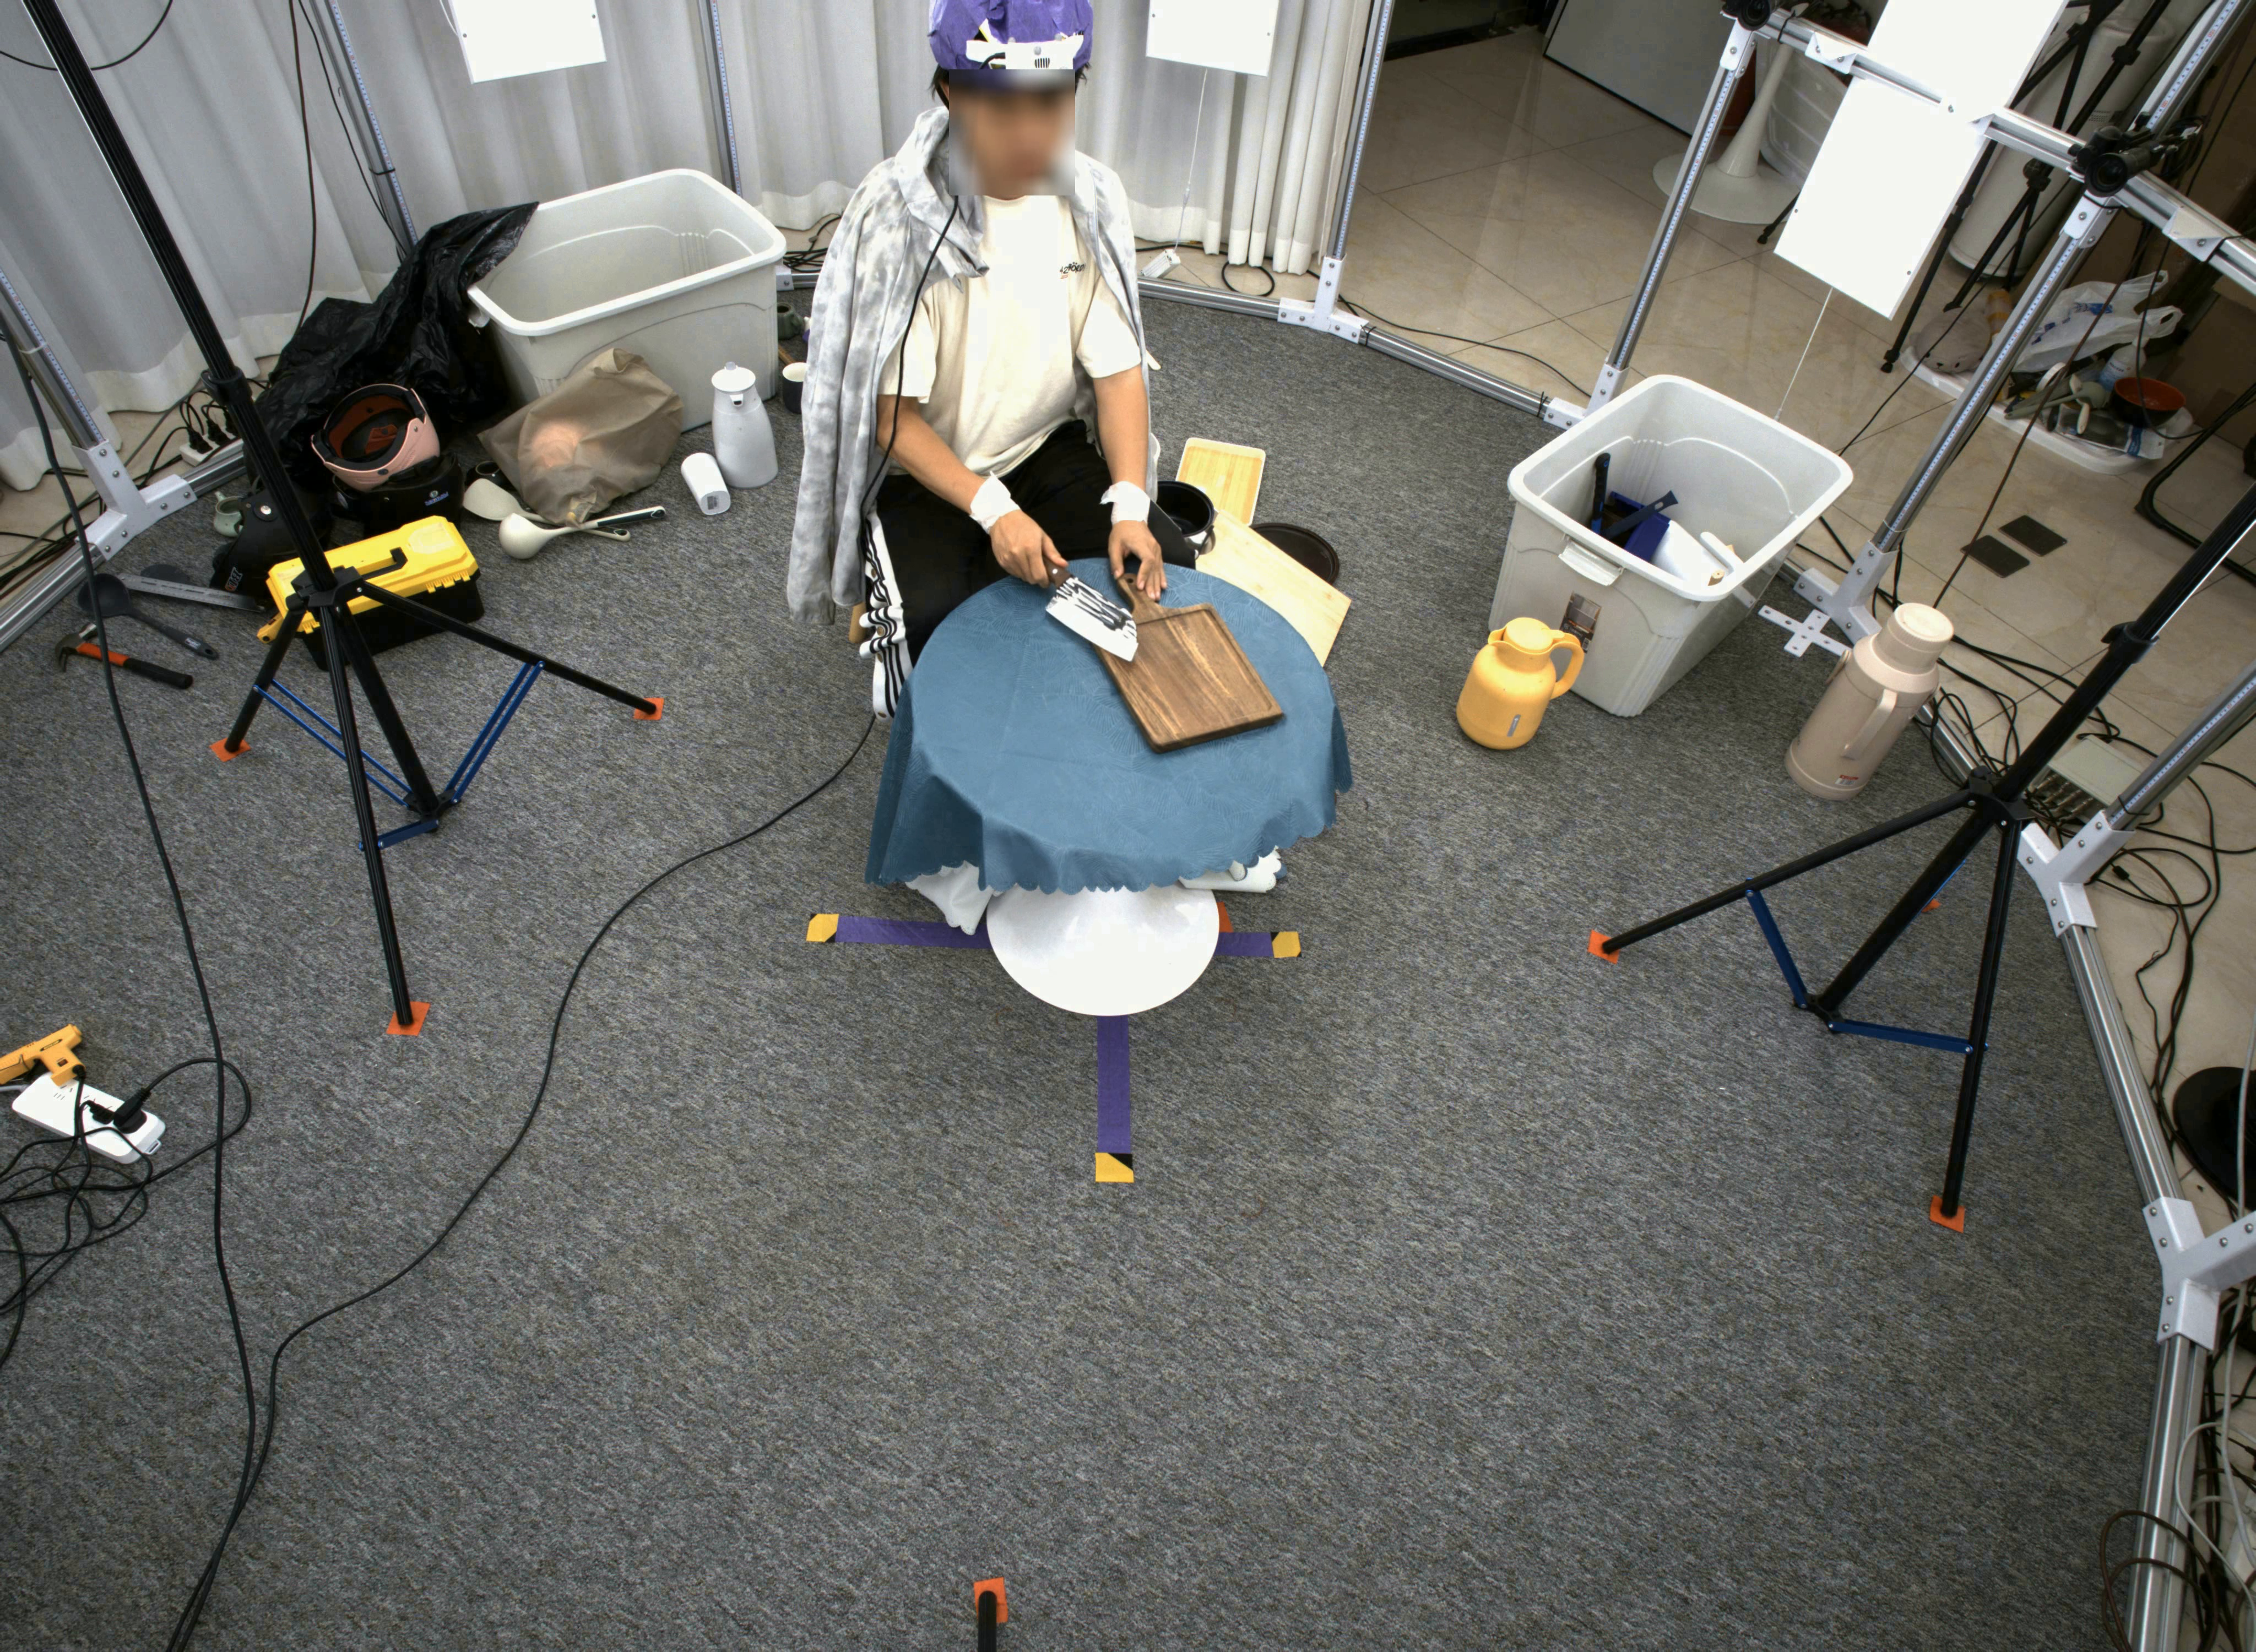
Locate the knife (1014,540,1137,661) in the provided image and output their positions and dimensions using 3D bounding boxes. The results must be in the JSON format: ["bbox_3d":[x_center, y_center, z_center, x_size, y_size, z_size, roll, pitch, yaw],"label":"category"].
[{"bbox_3d":[-0.084,-0.336,1.907,0.304,0.023,0.068,39,89,31],"label":"knife"}]

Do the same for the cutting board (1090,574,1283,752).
[{"bbox_3d":[0.062,-0.256,1.874,0.201,0.022,0.360,-15,51,-17],"label":"cutting board"}]
